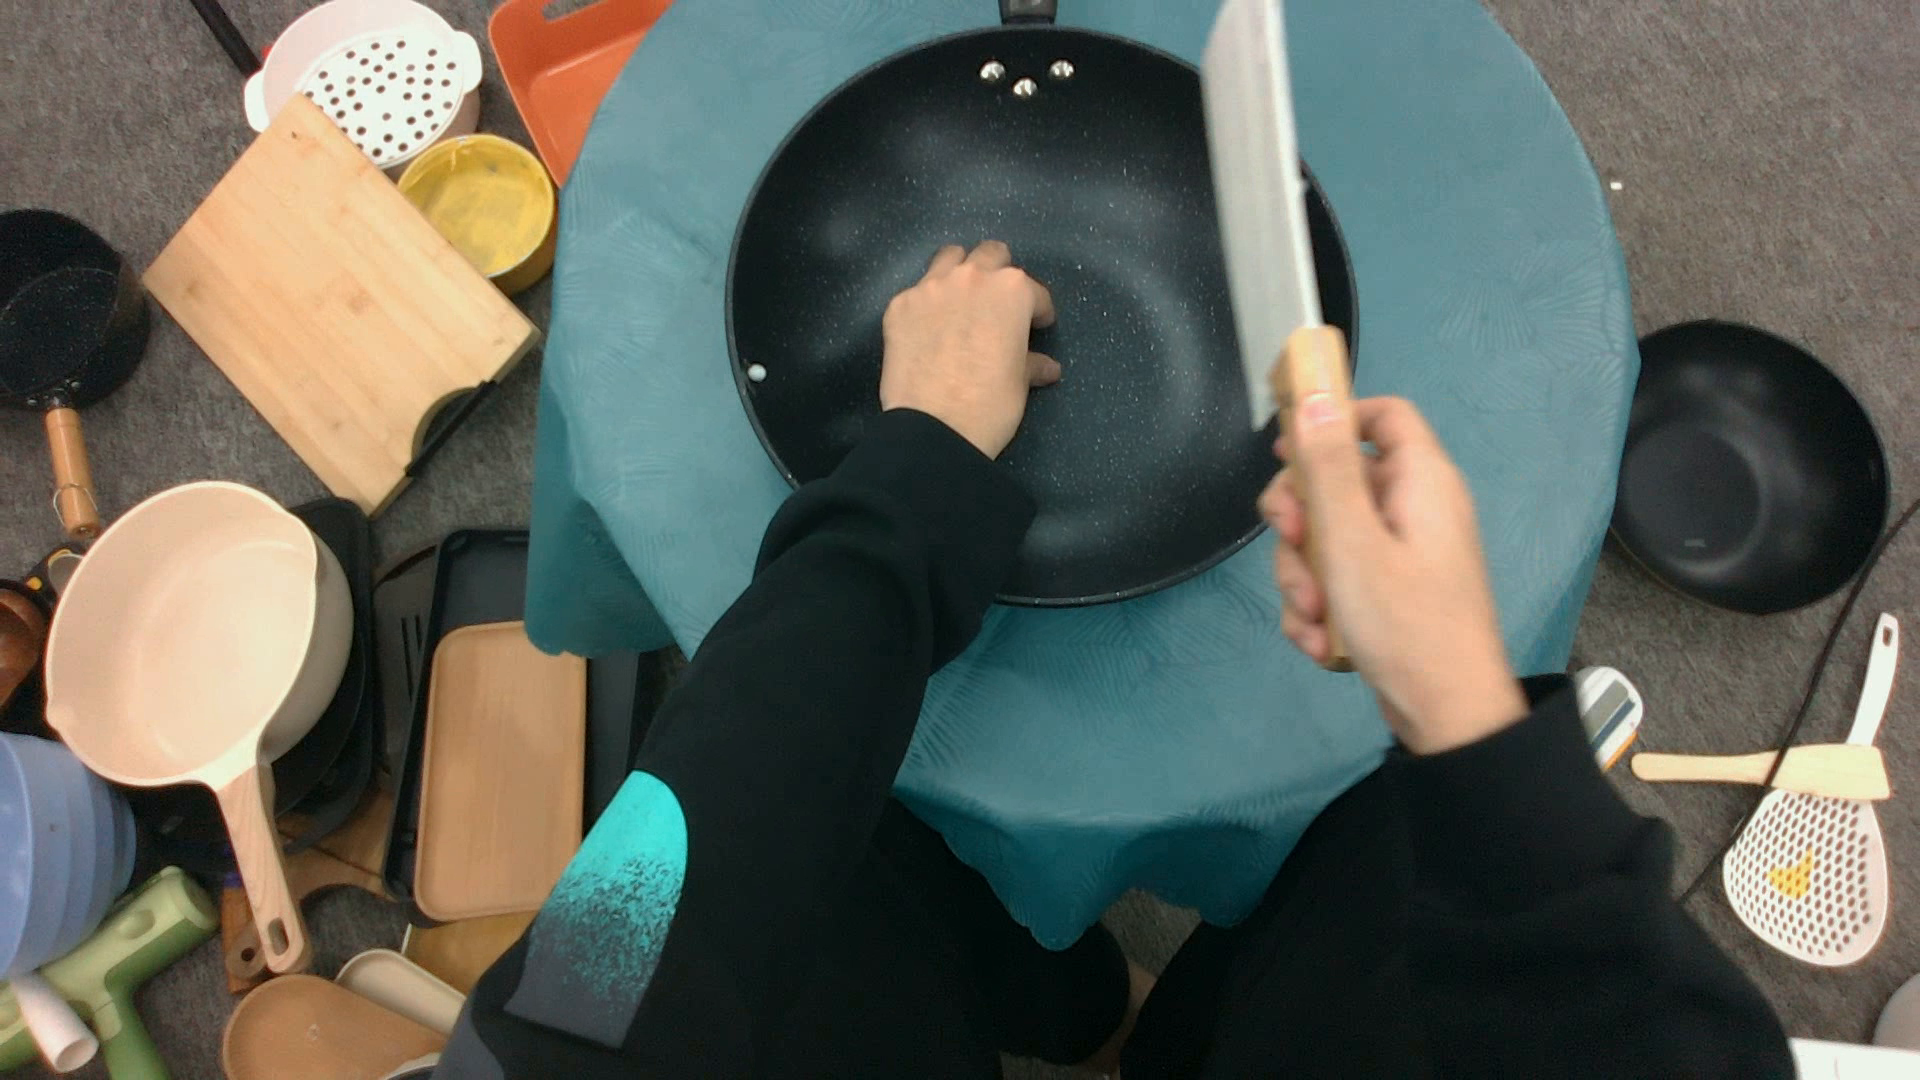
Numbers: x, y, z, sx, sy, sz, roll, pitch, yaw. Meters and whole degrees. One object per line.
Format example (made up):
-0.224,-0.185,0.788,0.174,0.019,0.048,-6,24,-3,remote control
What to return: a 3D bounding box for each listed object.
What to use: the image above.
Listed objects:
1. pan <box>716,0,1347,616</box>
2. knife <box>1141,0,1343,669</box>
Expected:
0.032,-0.185,0.724,0.310,0.111,0.478,-1,73,-5,pan
0.110,-0.098,0.573,0.022,0.113,0.316,-6,67,-5,knife
